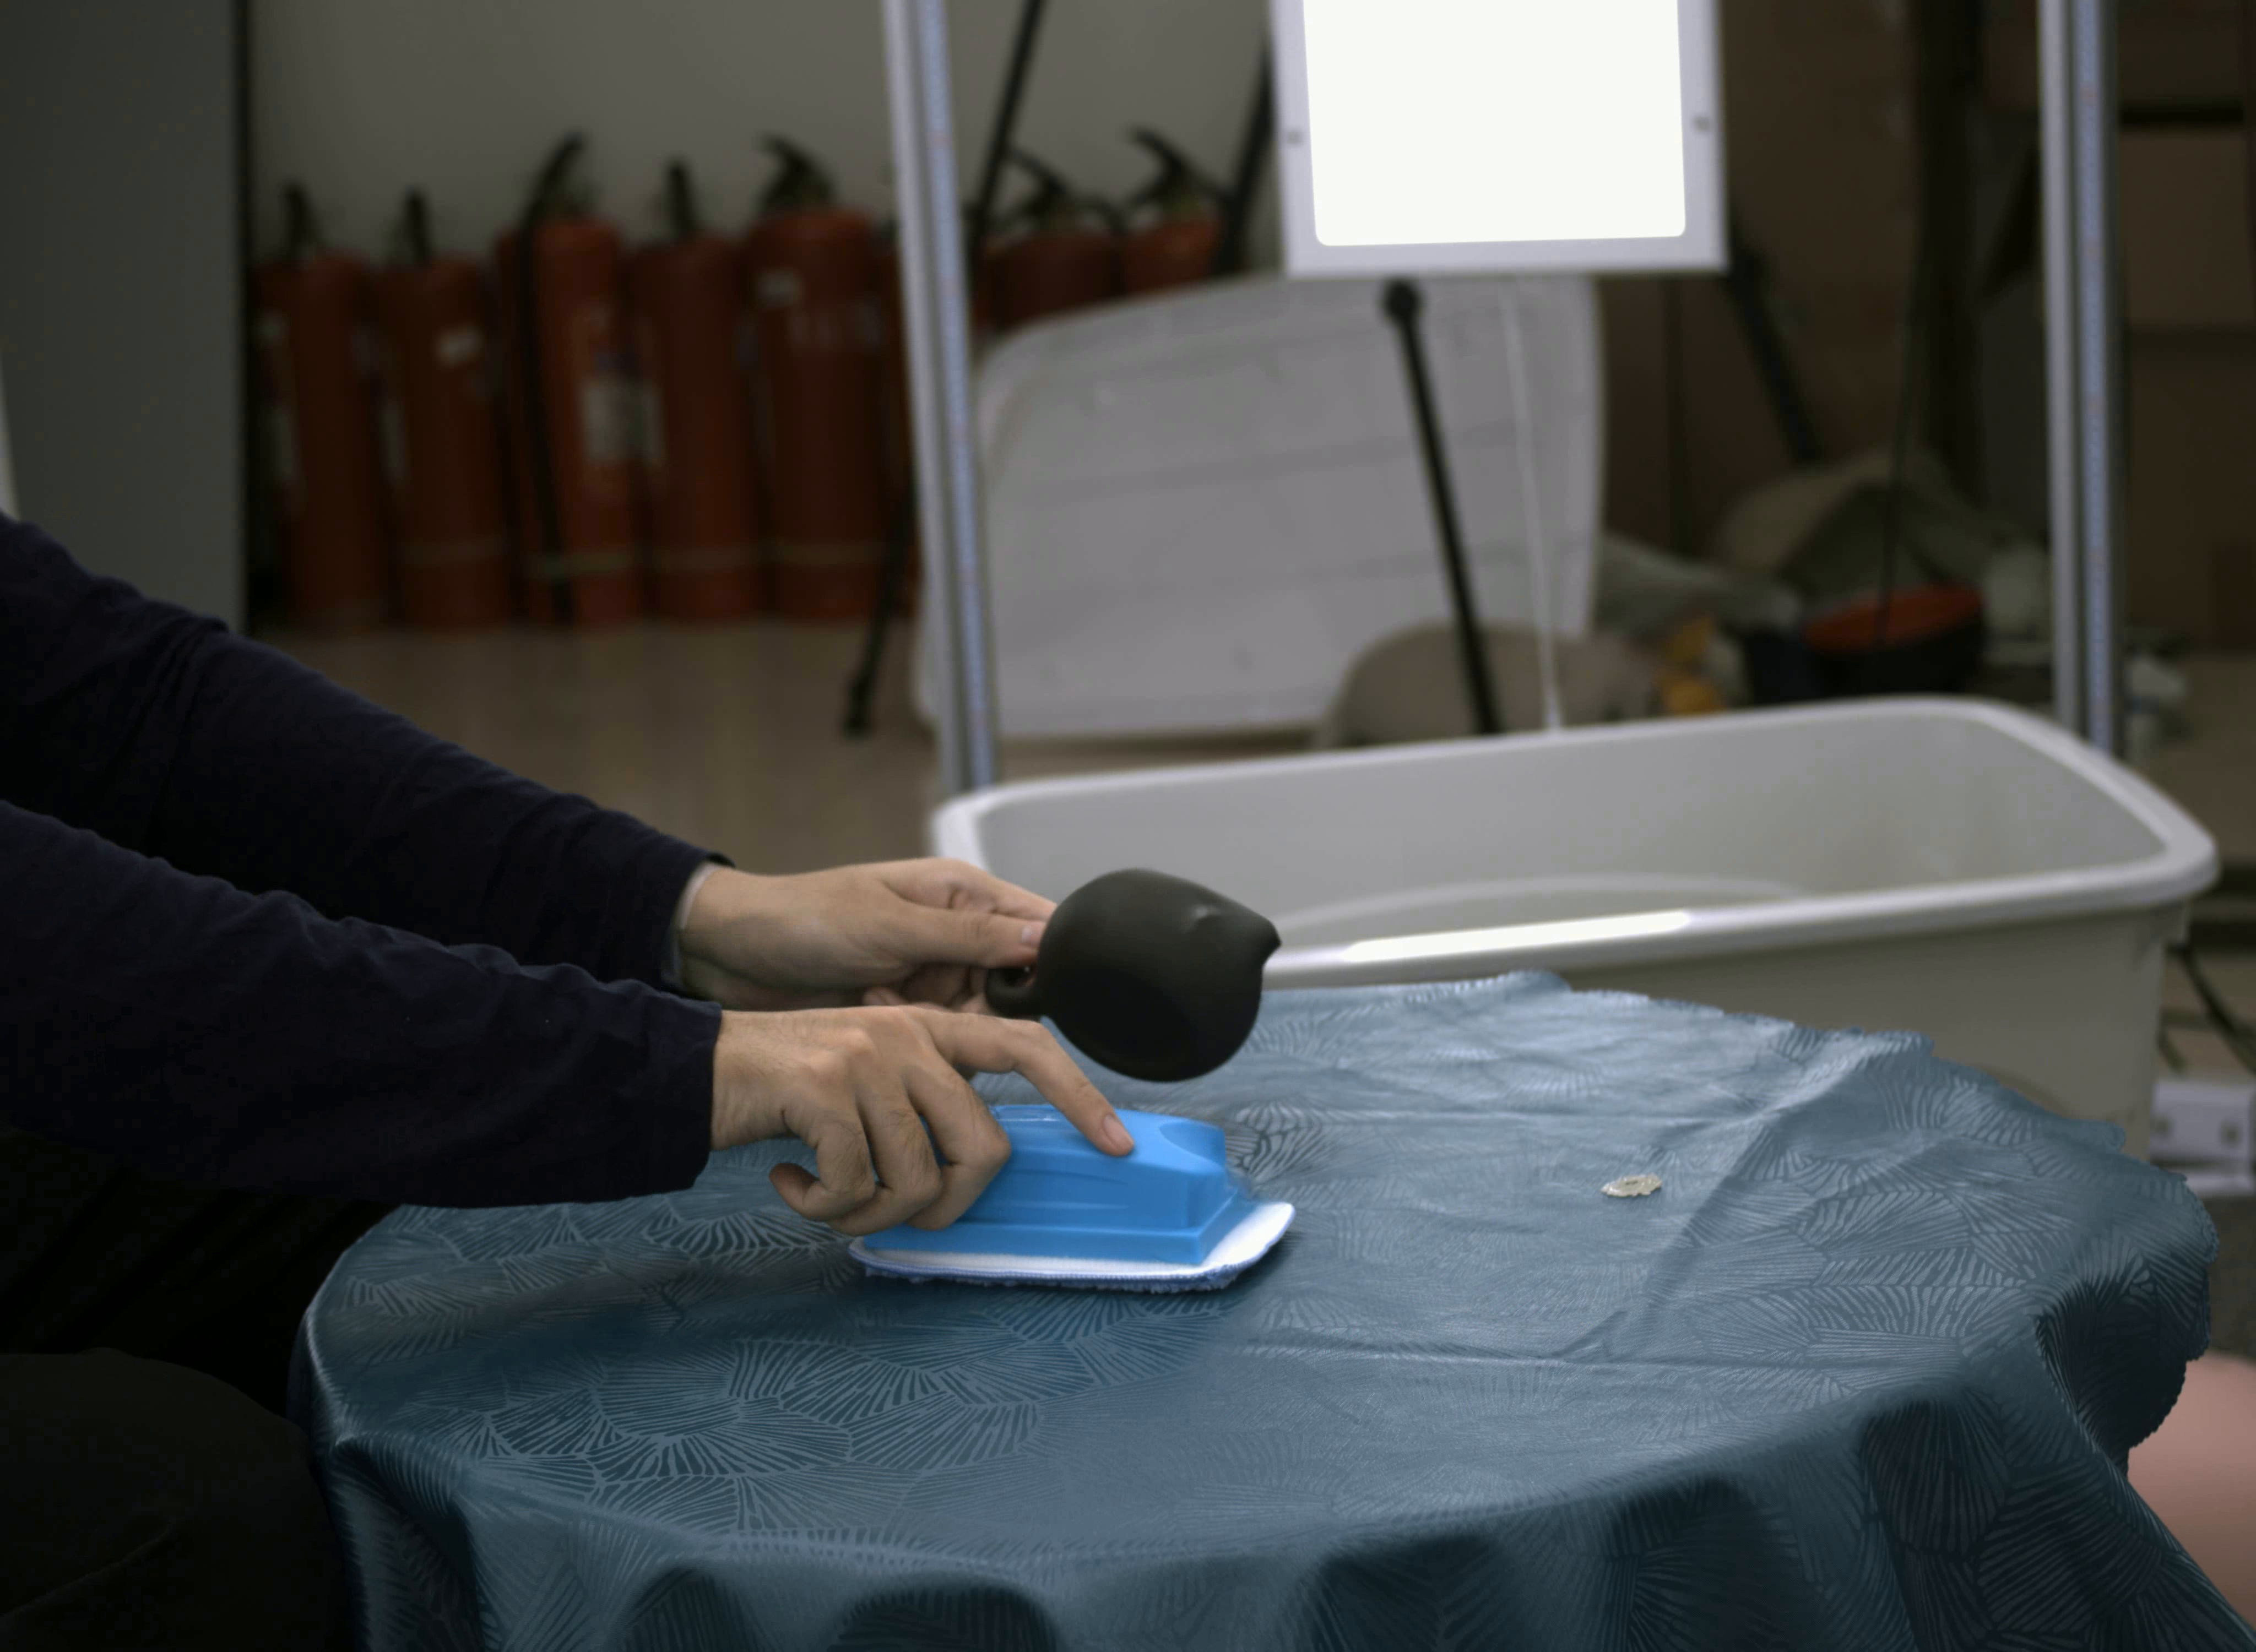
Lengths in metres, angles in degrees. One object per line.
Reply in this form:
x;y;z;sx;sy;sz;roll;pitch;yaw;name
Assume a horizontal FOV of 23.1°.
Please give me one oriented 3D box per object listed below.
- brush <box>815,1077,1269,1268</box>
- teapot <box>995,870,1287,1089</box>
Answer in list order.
-0.028;0.114;1.829;0.146;0.056;0.082;4;14;24;brush
0.001;0.054;1.948;0.116;0.082;0.052;-4;39;39;teapot
